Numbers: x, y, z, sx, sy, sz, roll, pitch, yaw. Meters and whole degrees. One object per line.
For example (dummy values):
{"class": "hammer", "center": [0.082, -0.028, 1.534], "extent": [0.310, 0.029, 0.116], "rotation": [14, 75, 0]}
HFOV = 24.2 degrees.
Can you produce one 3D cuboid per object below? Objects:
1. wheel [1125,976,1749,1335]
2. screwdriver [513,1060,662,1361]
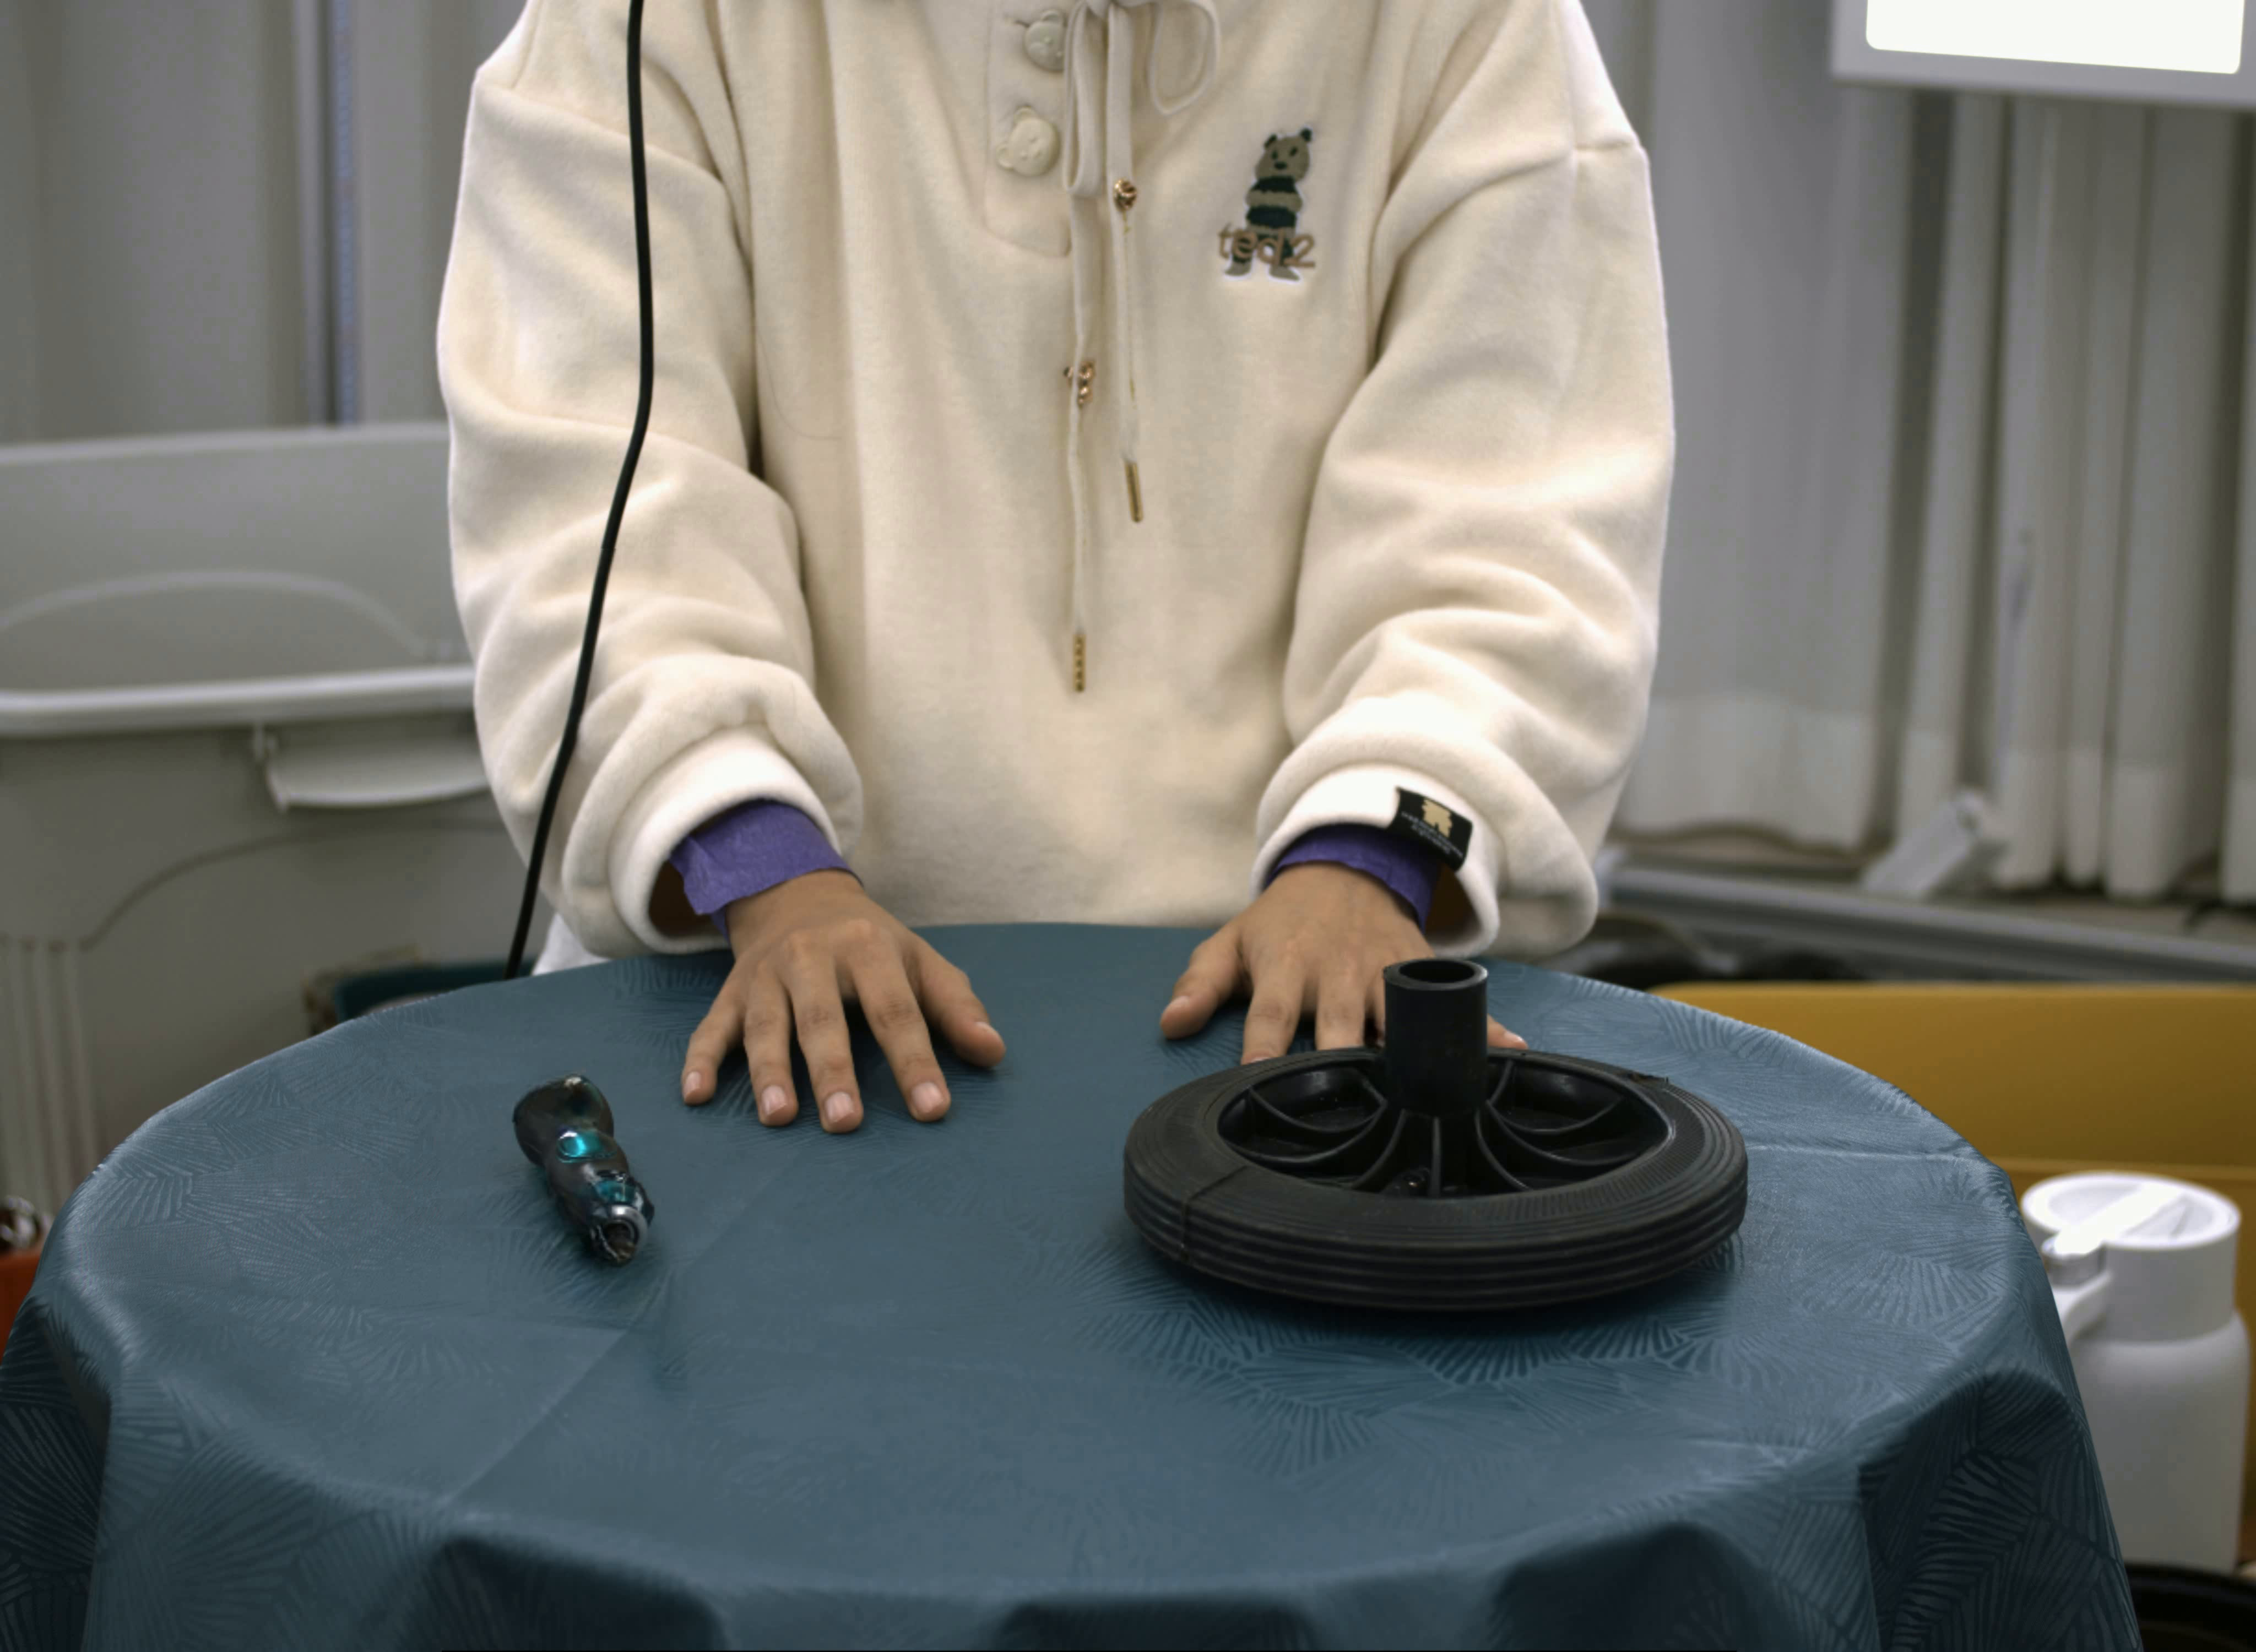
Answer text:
{"class": "wheel", "center": [0.092, 0.087, 1.575], "extent": [0.187, 0.080, 0.188], "rotation": [0, 18, -1]}
{"class": "screwdriver", "center": [-0.157, 0.116, 1.563], "extent": [0.034, 0.034, 0.188], "rotation": [-3, 21, -14]}
